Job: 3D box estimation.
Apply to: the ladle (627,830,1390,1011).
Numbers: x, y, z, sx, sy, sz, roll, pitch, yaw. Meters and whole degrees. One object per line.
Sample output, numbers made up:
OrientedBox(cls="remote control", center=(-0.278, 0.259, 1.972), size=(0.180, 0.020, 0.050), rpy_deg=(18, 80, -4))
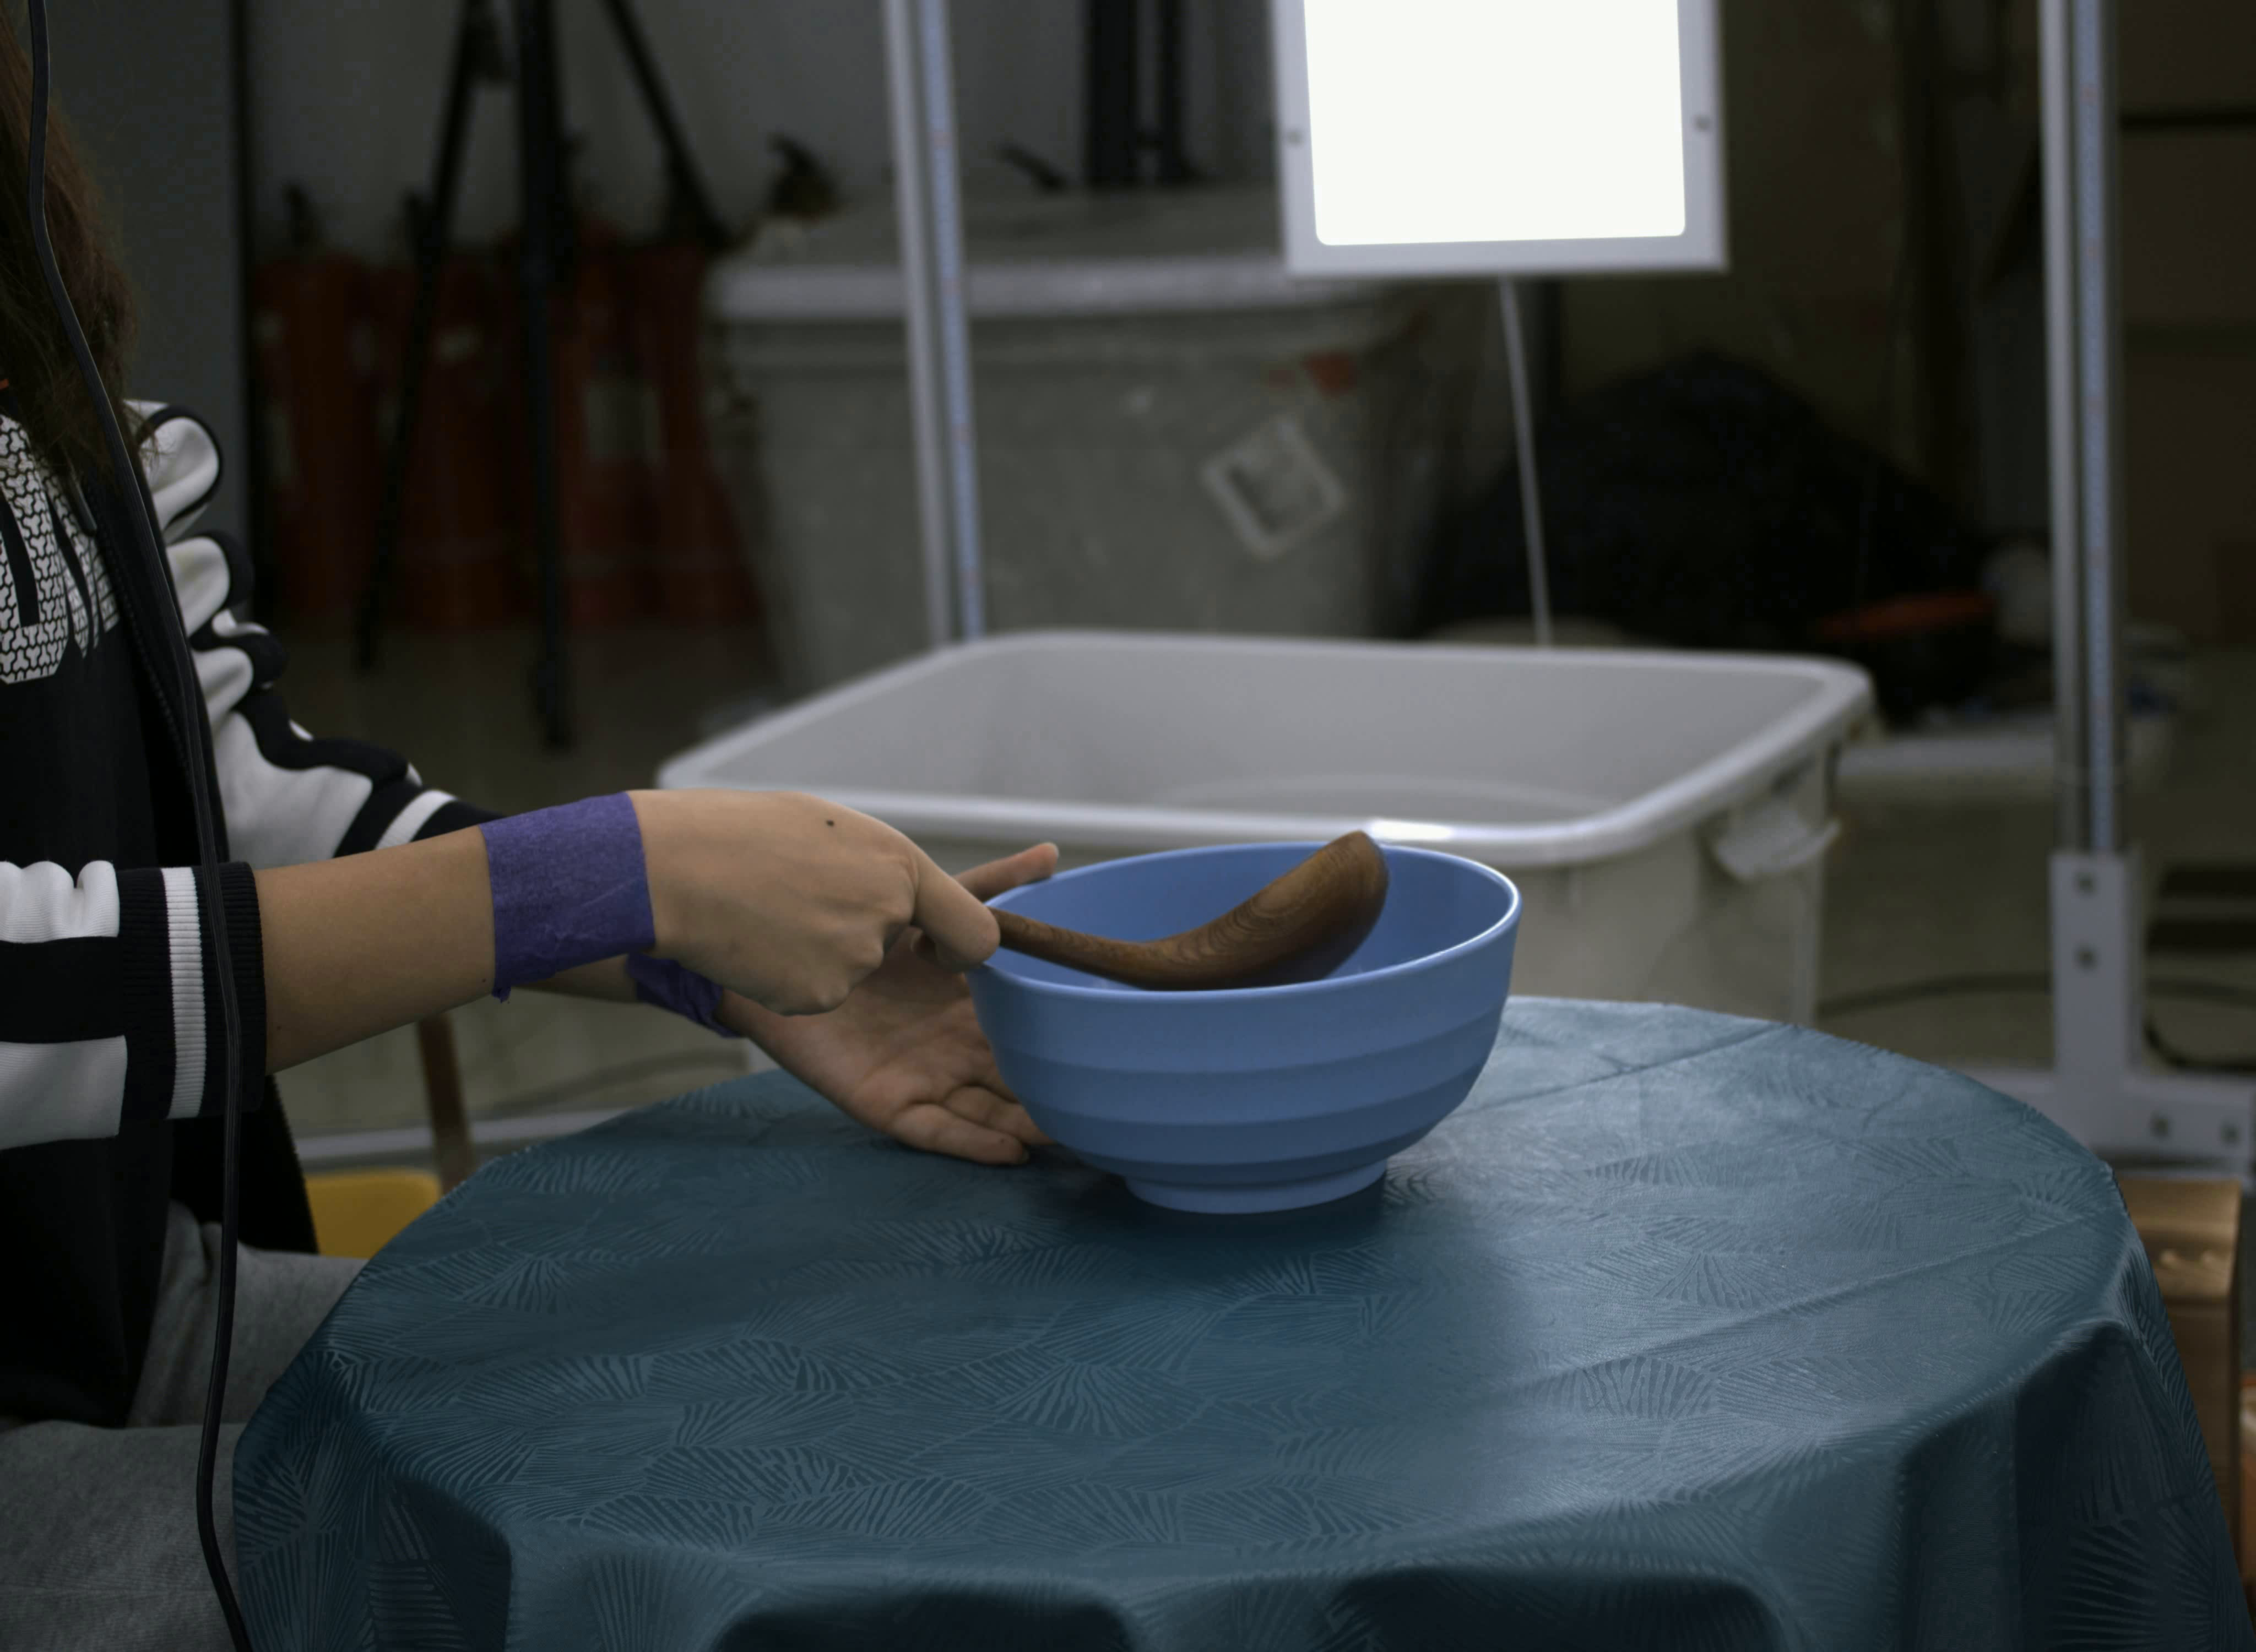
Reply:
OrientedBox(cls="ladle", center=(-0.039, 0.024, 1.852), size=(0.258, 0.077, 0.065), rpy_deg=(7, 56, -8))

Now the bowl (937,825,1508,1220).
OrientedBox(cls="bowl", center=(0.034, 0.075, 1.900), size=(0.196, 0.096, 0.196), rpy_deg=(-3, 19, 0))
